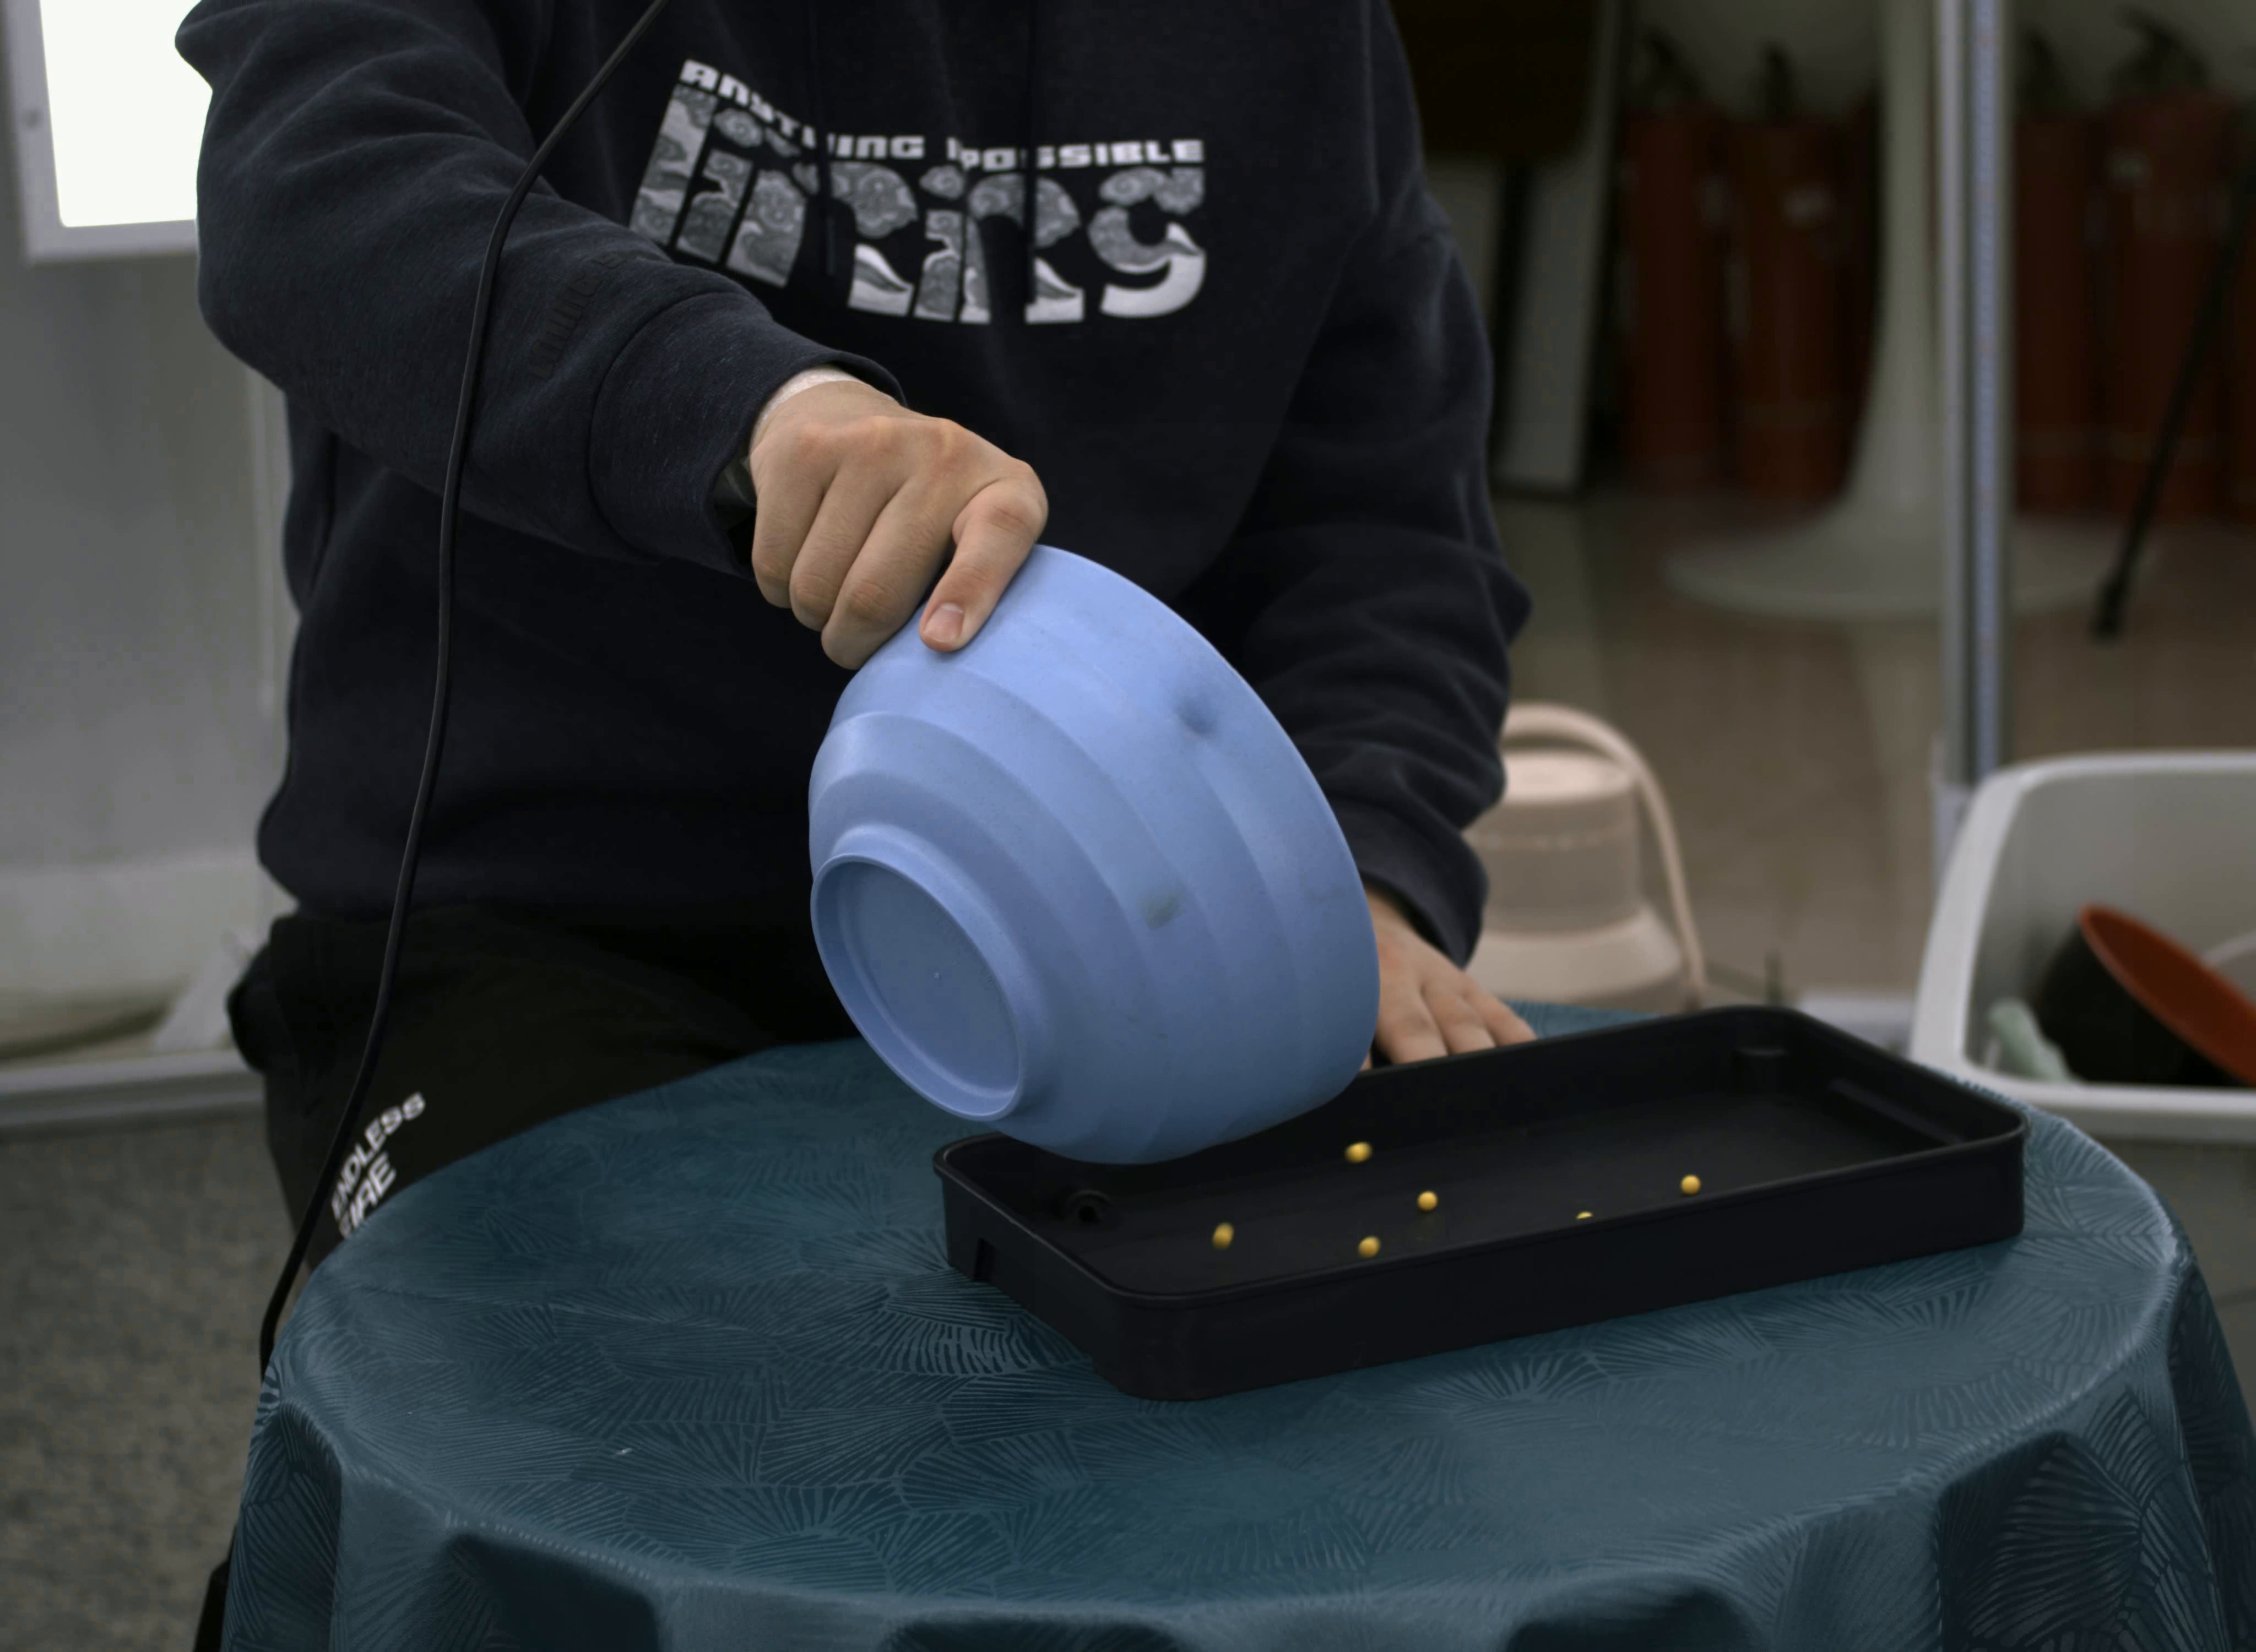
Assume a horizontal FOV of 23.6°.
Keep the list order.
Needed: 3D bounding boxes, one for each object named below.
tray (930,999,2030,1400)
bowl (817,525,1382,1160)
[{"bbox_3d":[0.110,0.113,1.696,0.311,0.037,0.186,-9,14,-20],"label":"tray"},{"bbox_3d":[-0.027,0.021,1.577,0.094,0.197,0.198,-33,27,-28],"label":"bowl"}]
